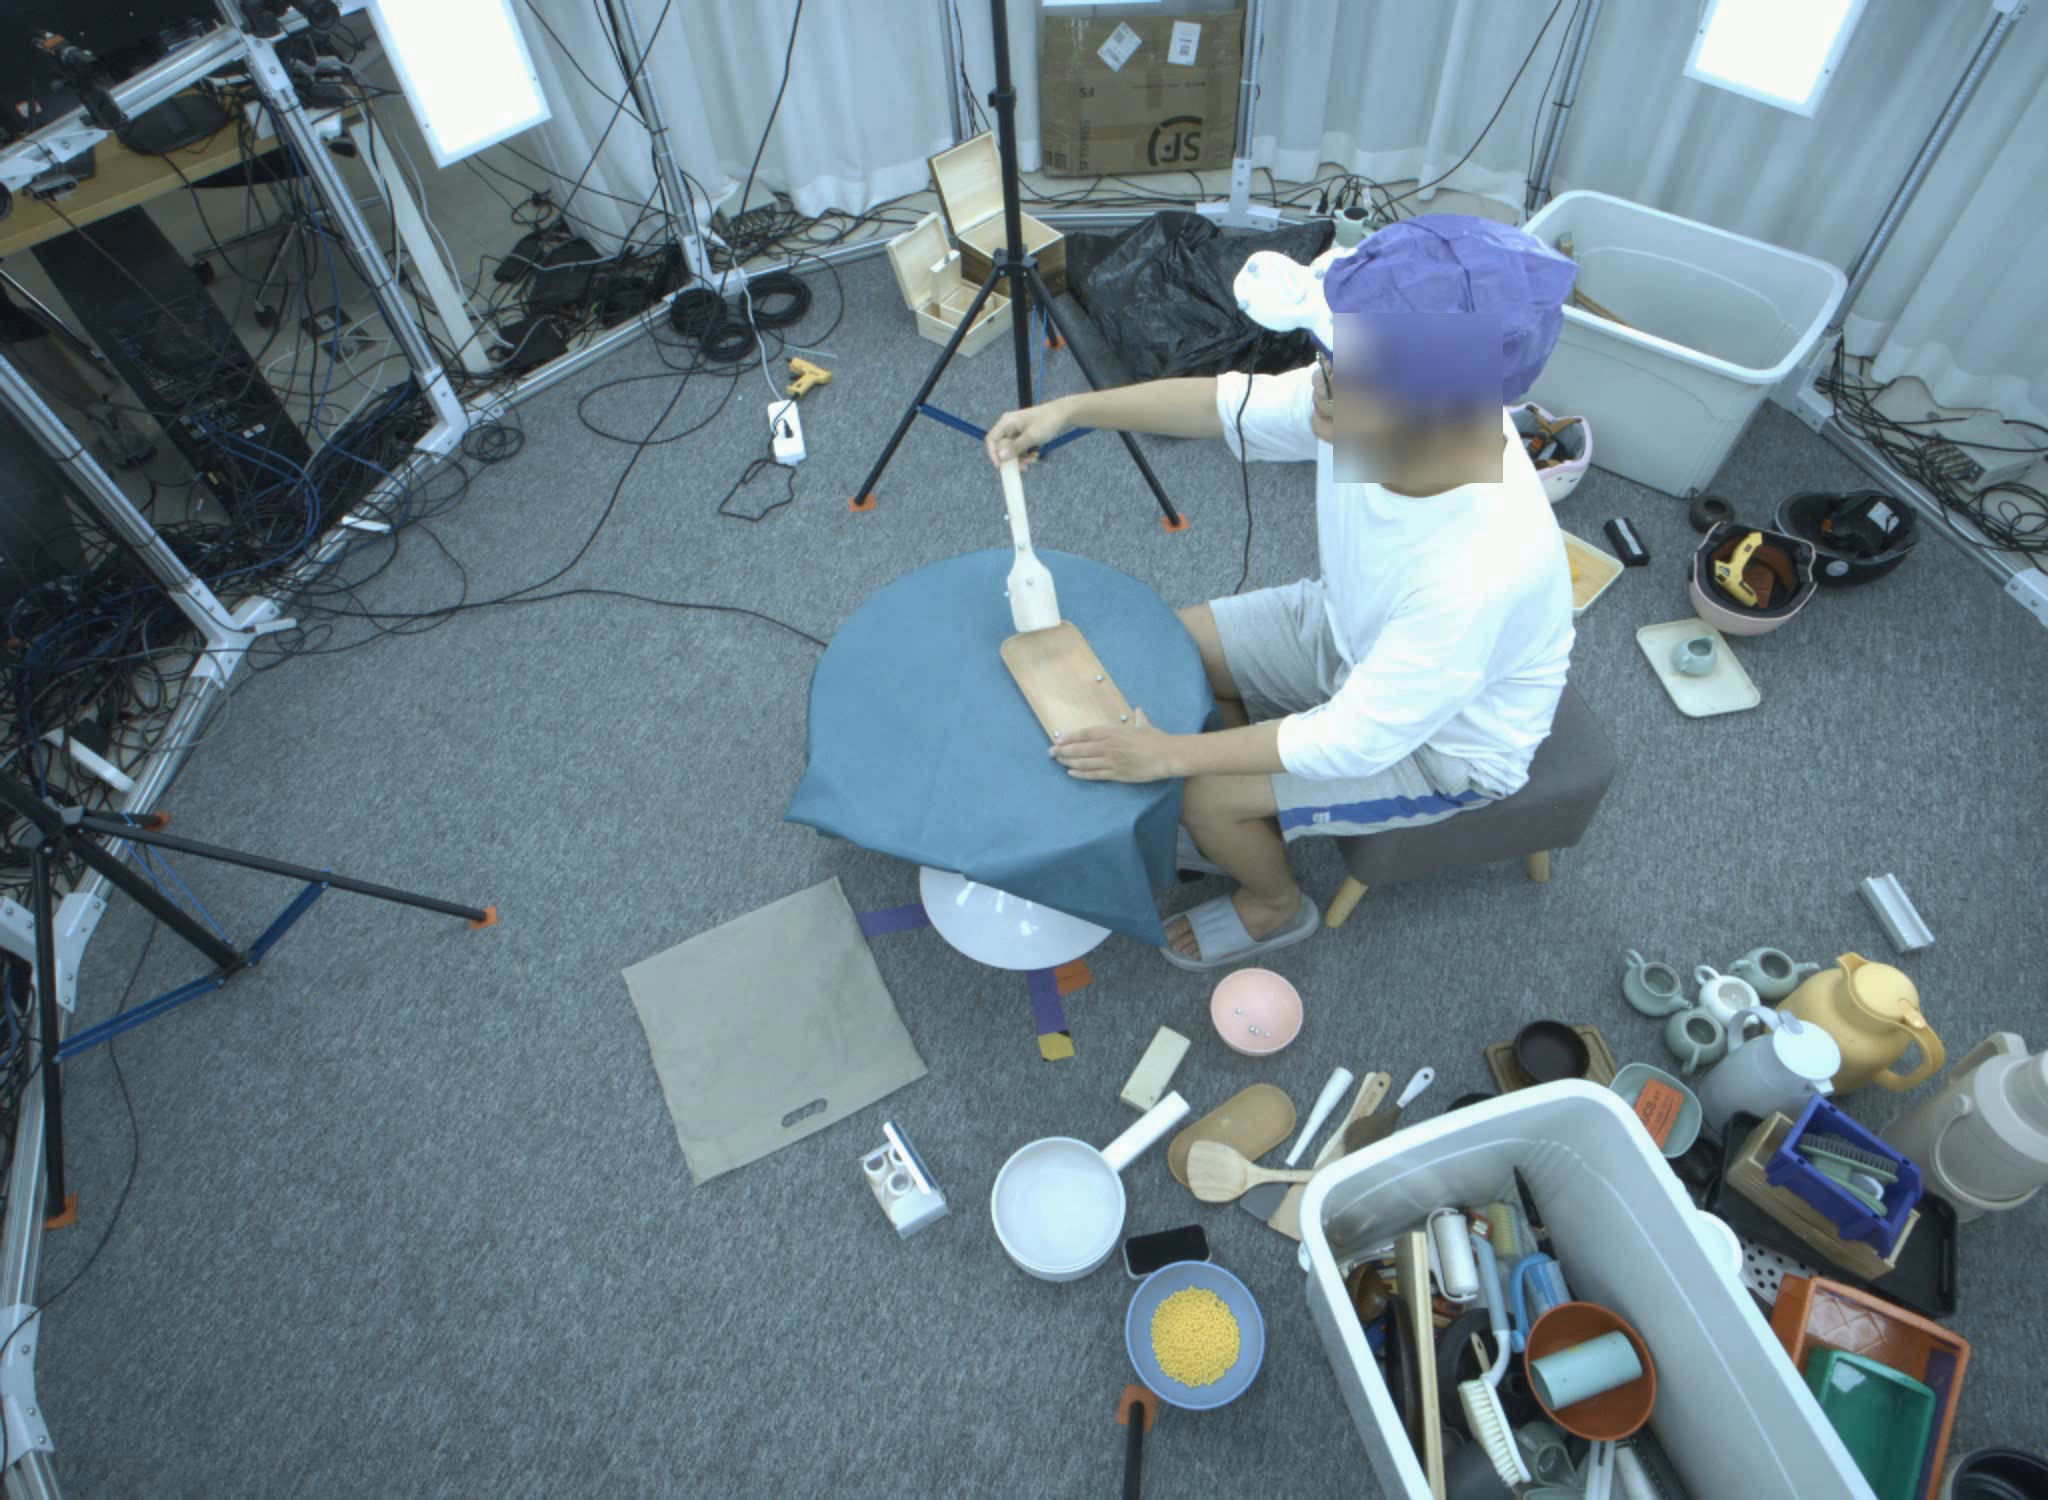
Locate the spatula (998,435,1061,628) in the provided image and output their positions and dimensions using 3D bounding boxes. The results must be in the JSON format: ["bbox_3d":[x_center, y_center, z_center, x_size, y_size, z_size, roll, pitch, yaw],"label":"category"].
[{"bbox_3d":[-0.005,-0.329,1.833,0.073,0.010,0.293,-12,95,-14],"label":"spatula"}]

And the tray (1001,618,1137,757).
[{"bbox_3d":[0.065,-0.096,1.842,0.132,0.023,0.246,-19,55,-15],"label":"tray"}]
